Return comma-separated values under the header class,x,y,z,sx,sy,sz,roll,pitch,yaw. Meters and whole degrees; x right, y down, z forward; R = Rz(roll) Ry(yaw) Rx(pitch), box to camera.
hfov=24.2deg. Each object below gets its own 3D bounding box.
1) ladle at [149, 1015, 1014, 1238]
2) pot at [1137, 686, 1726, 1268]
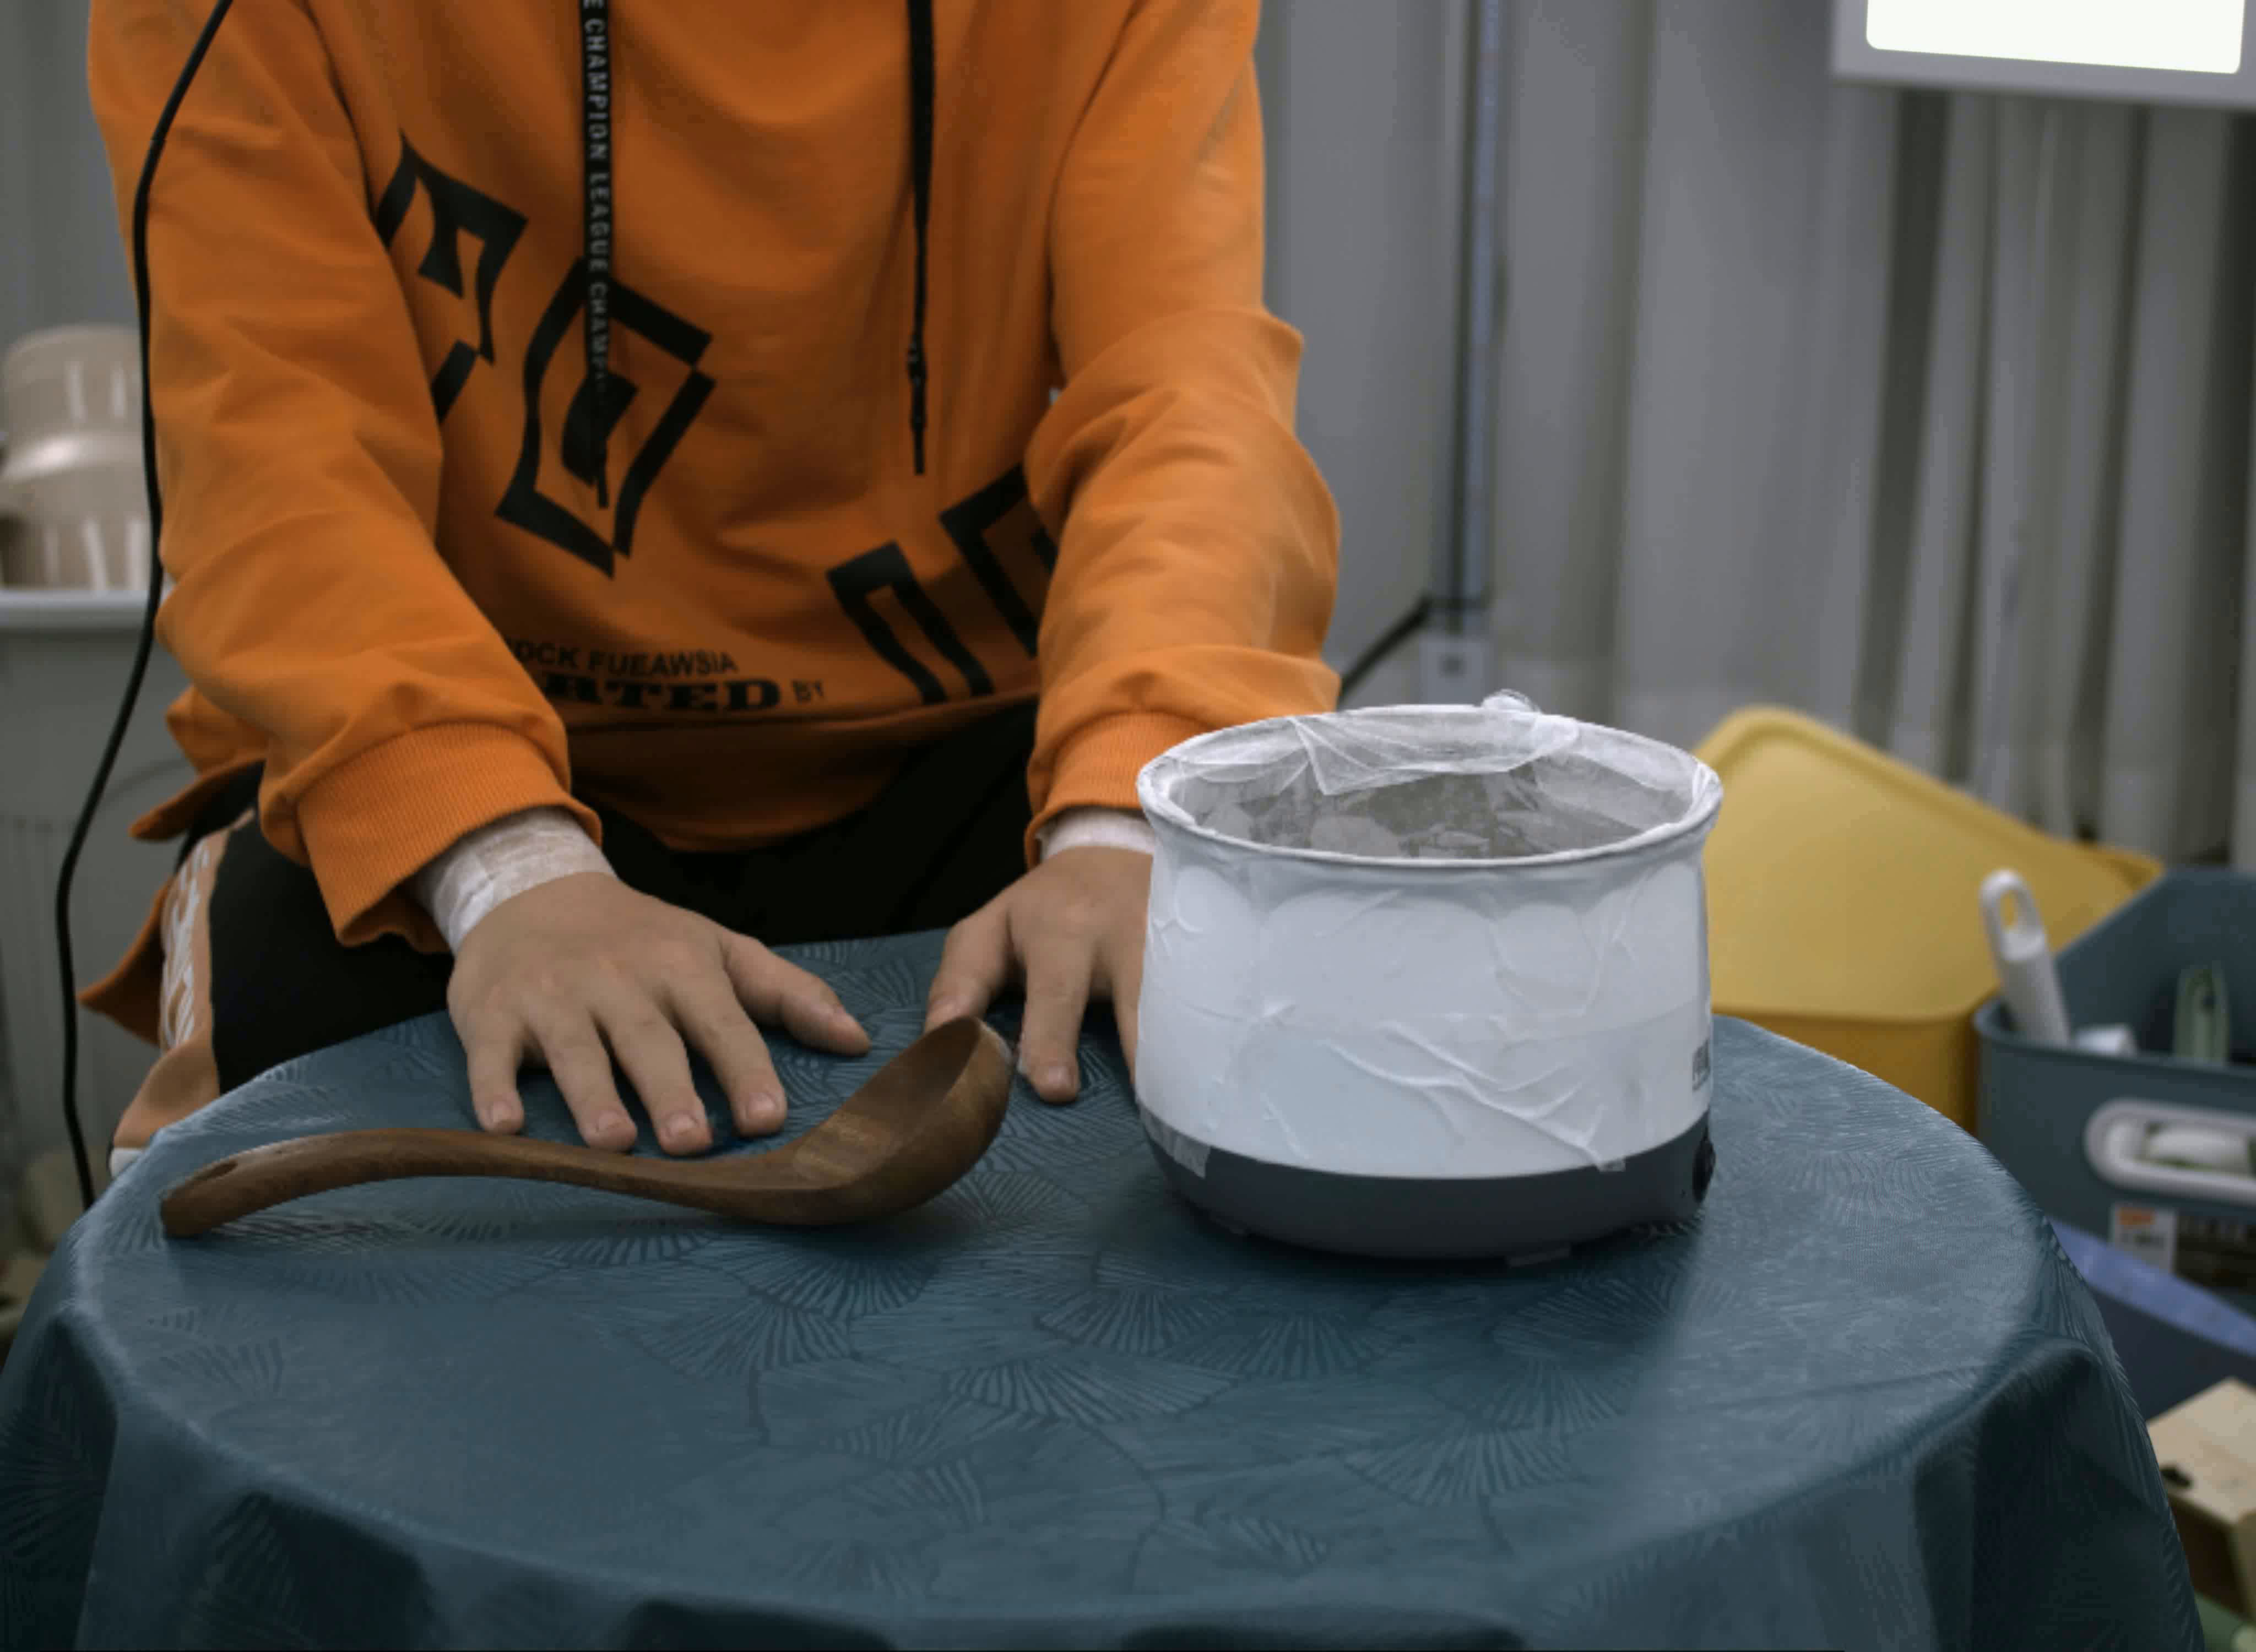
class,x,y,z,sx,sy,sz,roll,pitch,yaw
ladle,-0.164,0.090,1.579,0.259,0.065,0.076,0,14,-3
pot,0.098,0.040,1.627,0.177,0.138,0.233,5,17,15
